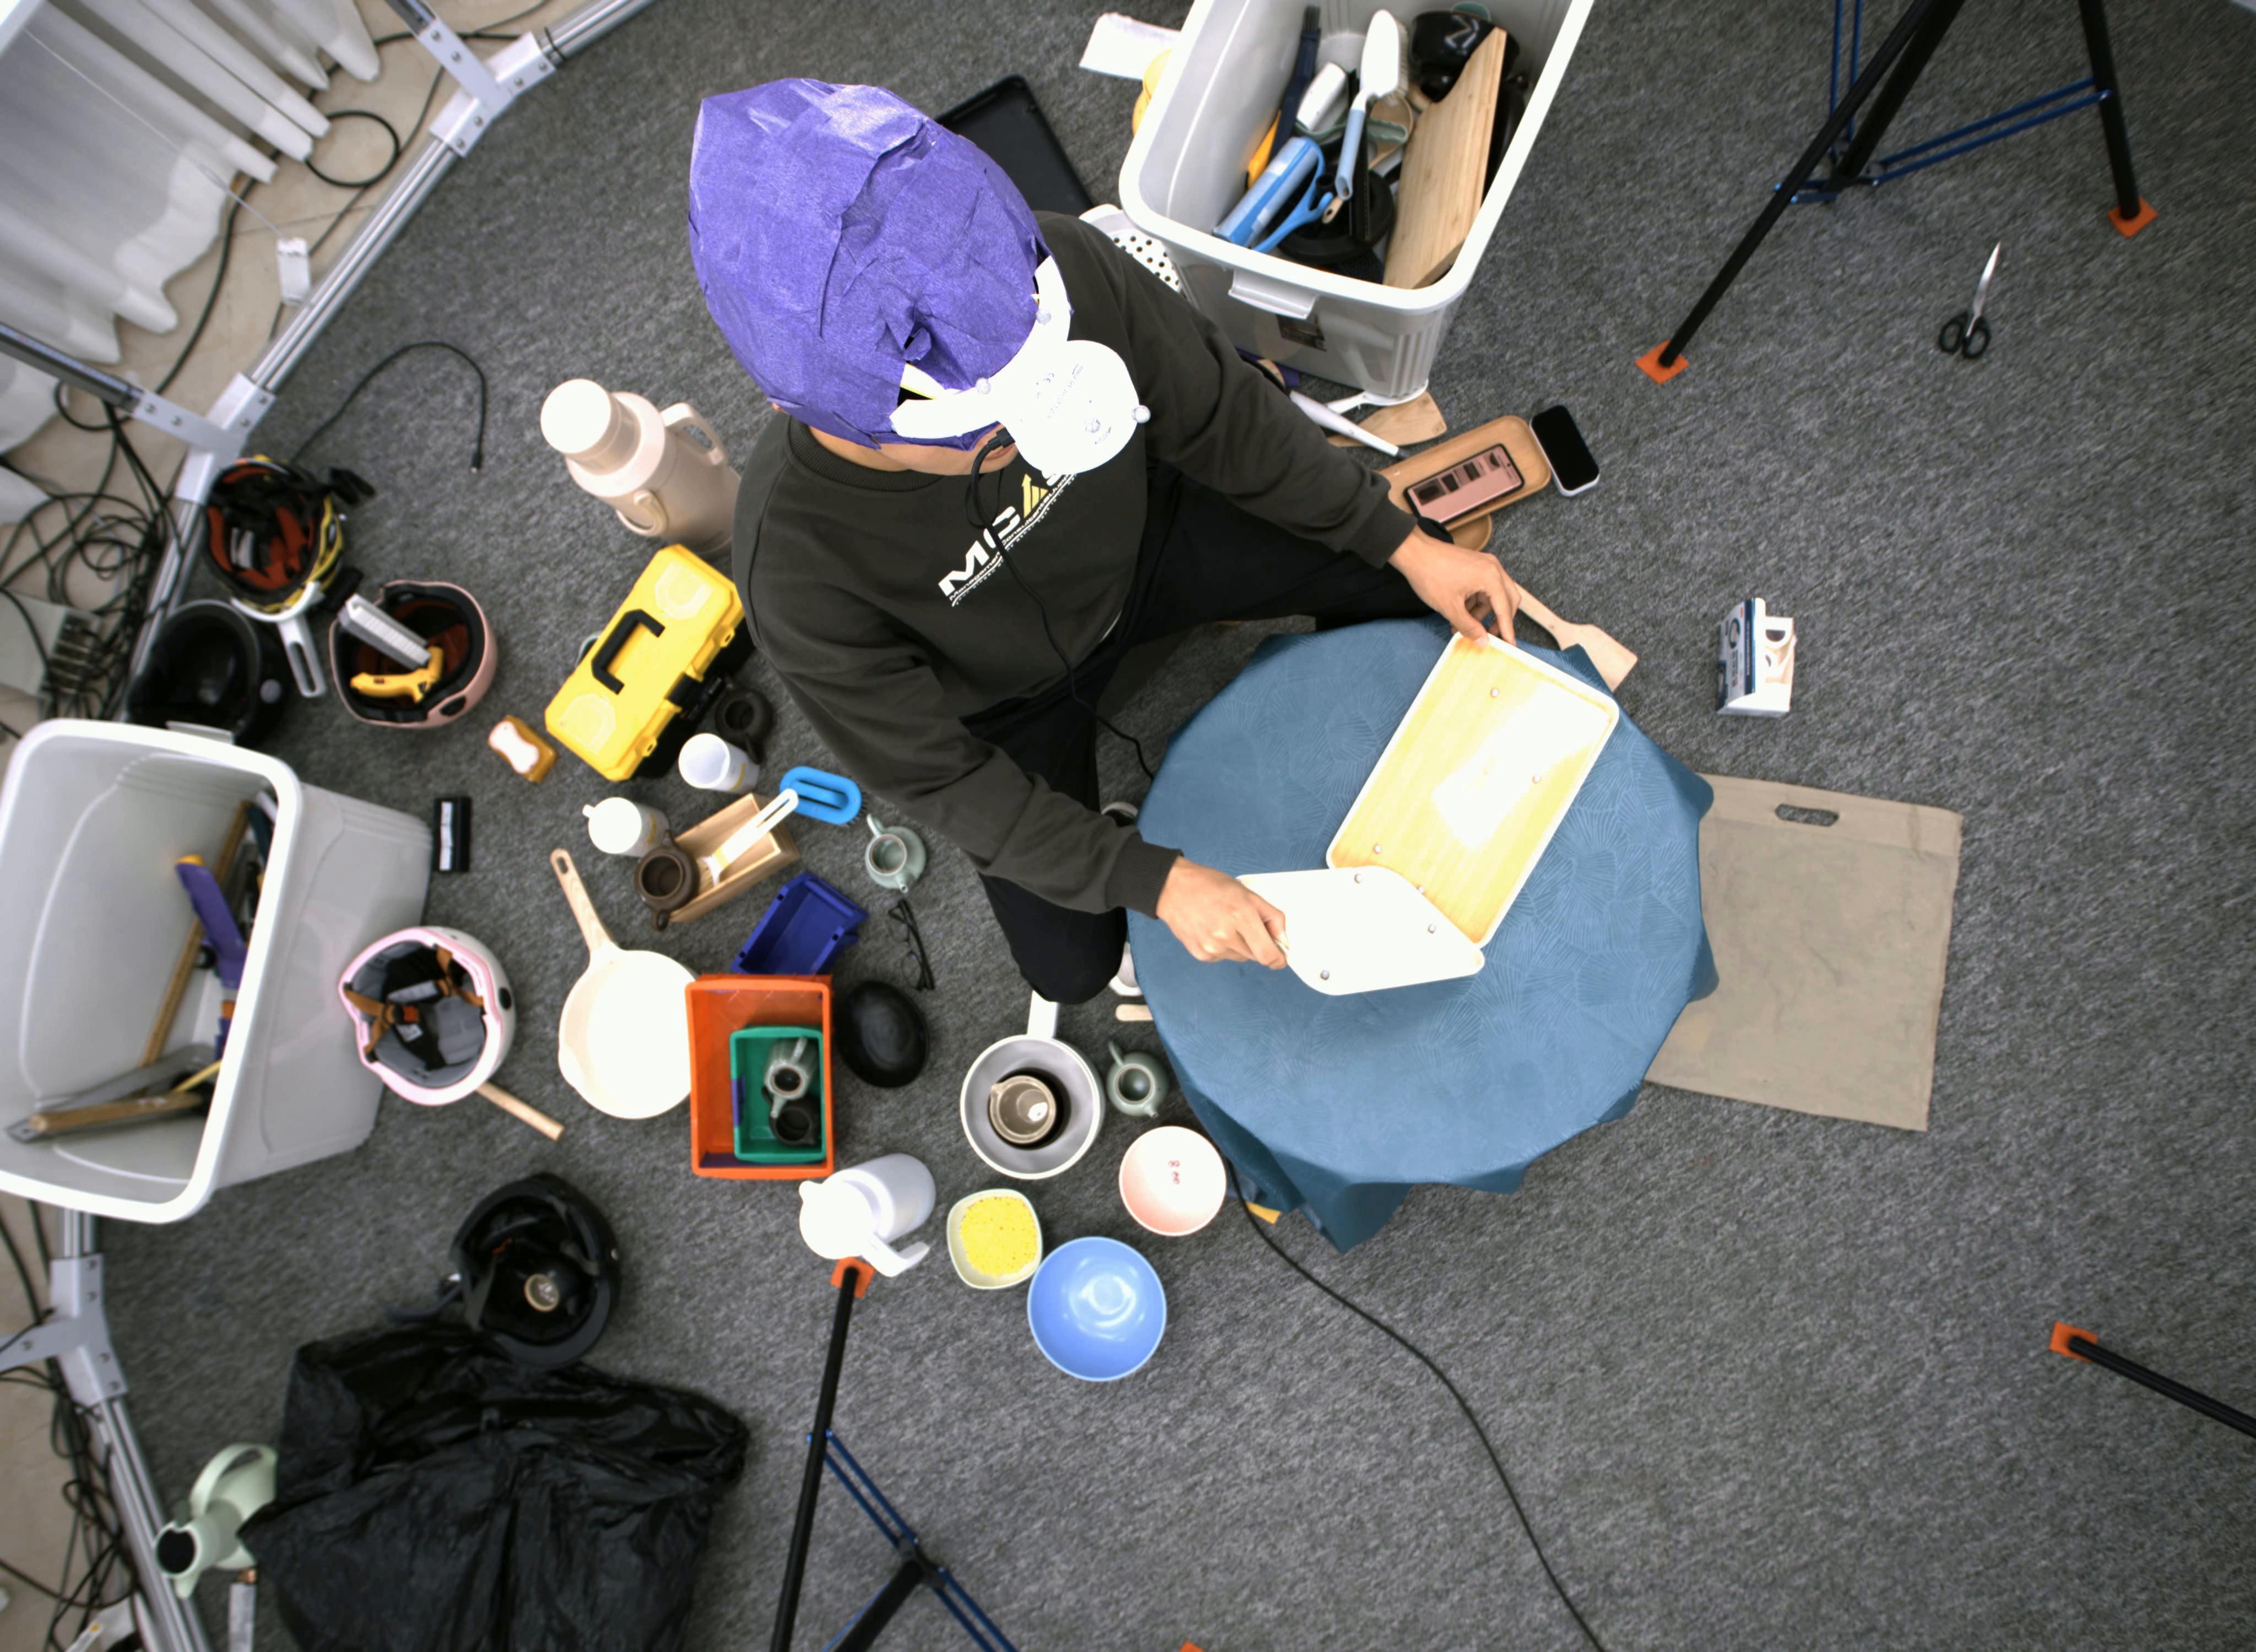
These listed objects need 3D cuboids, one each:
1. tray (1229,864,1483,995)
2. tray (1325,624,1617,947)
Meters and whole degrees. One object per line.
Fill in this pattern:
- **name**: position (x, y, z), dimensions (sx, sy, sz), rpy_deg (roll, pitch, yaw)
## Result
- **tray**: position (0.222, 0.098, 1.347), dimensions (0.168, 0.238, 0.018), rpy_deg (50, 130, 40)
- **tray**: position (0.357, -0.045, 1.437), dimensions (0.191, 0.027, 0.300), rpy_deg (31, 92, 11)
